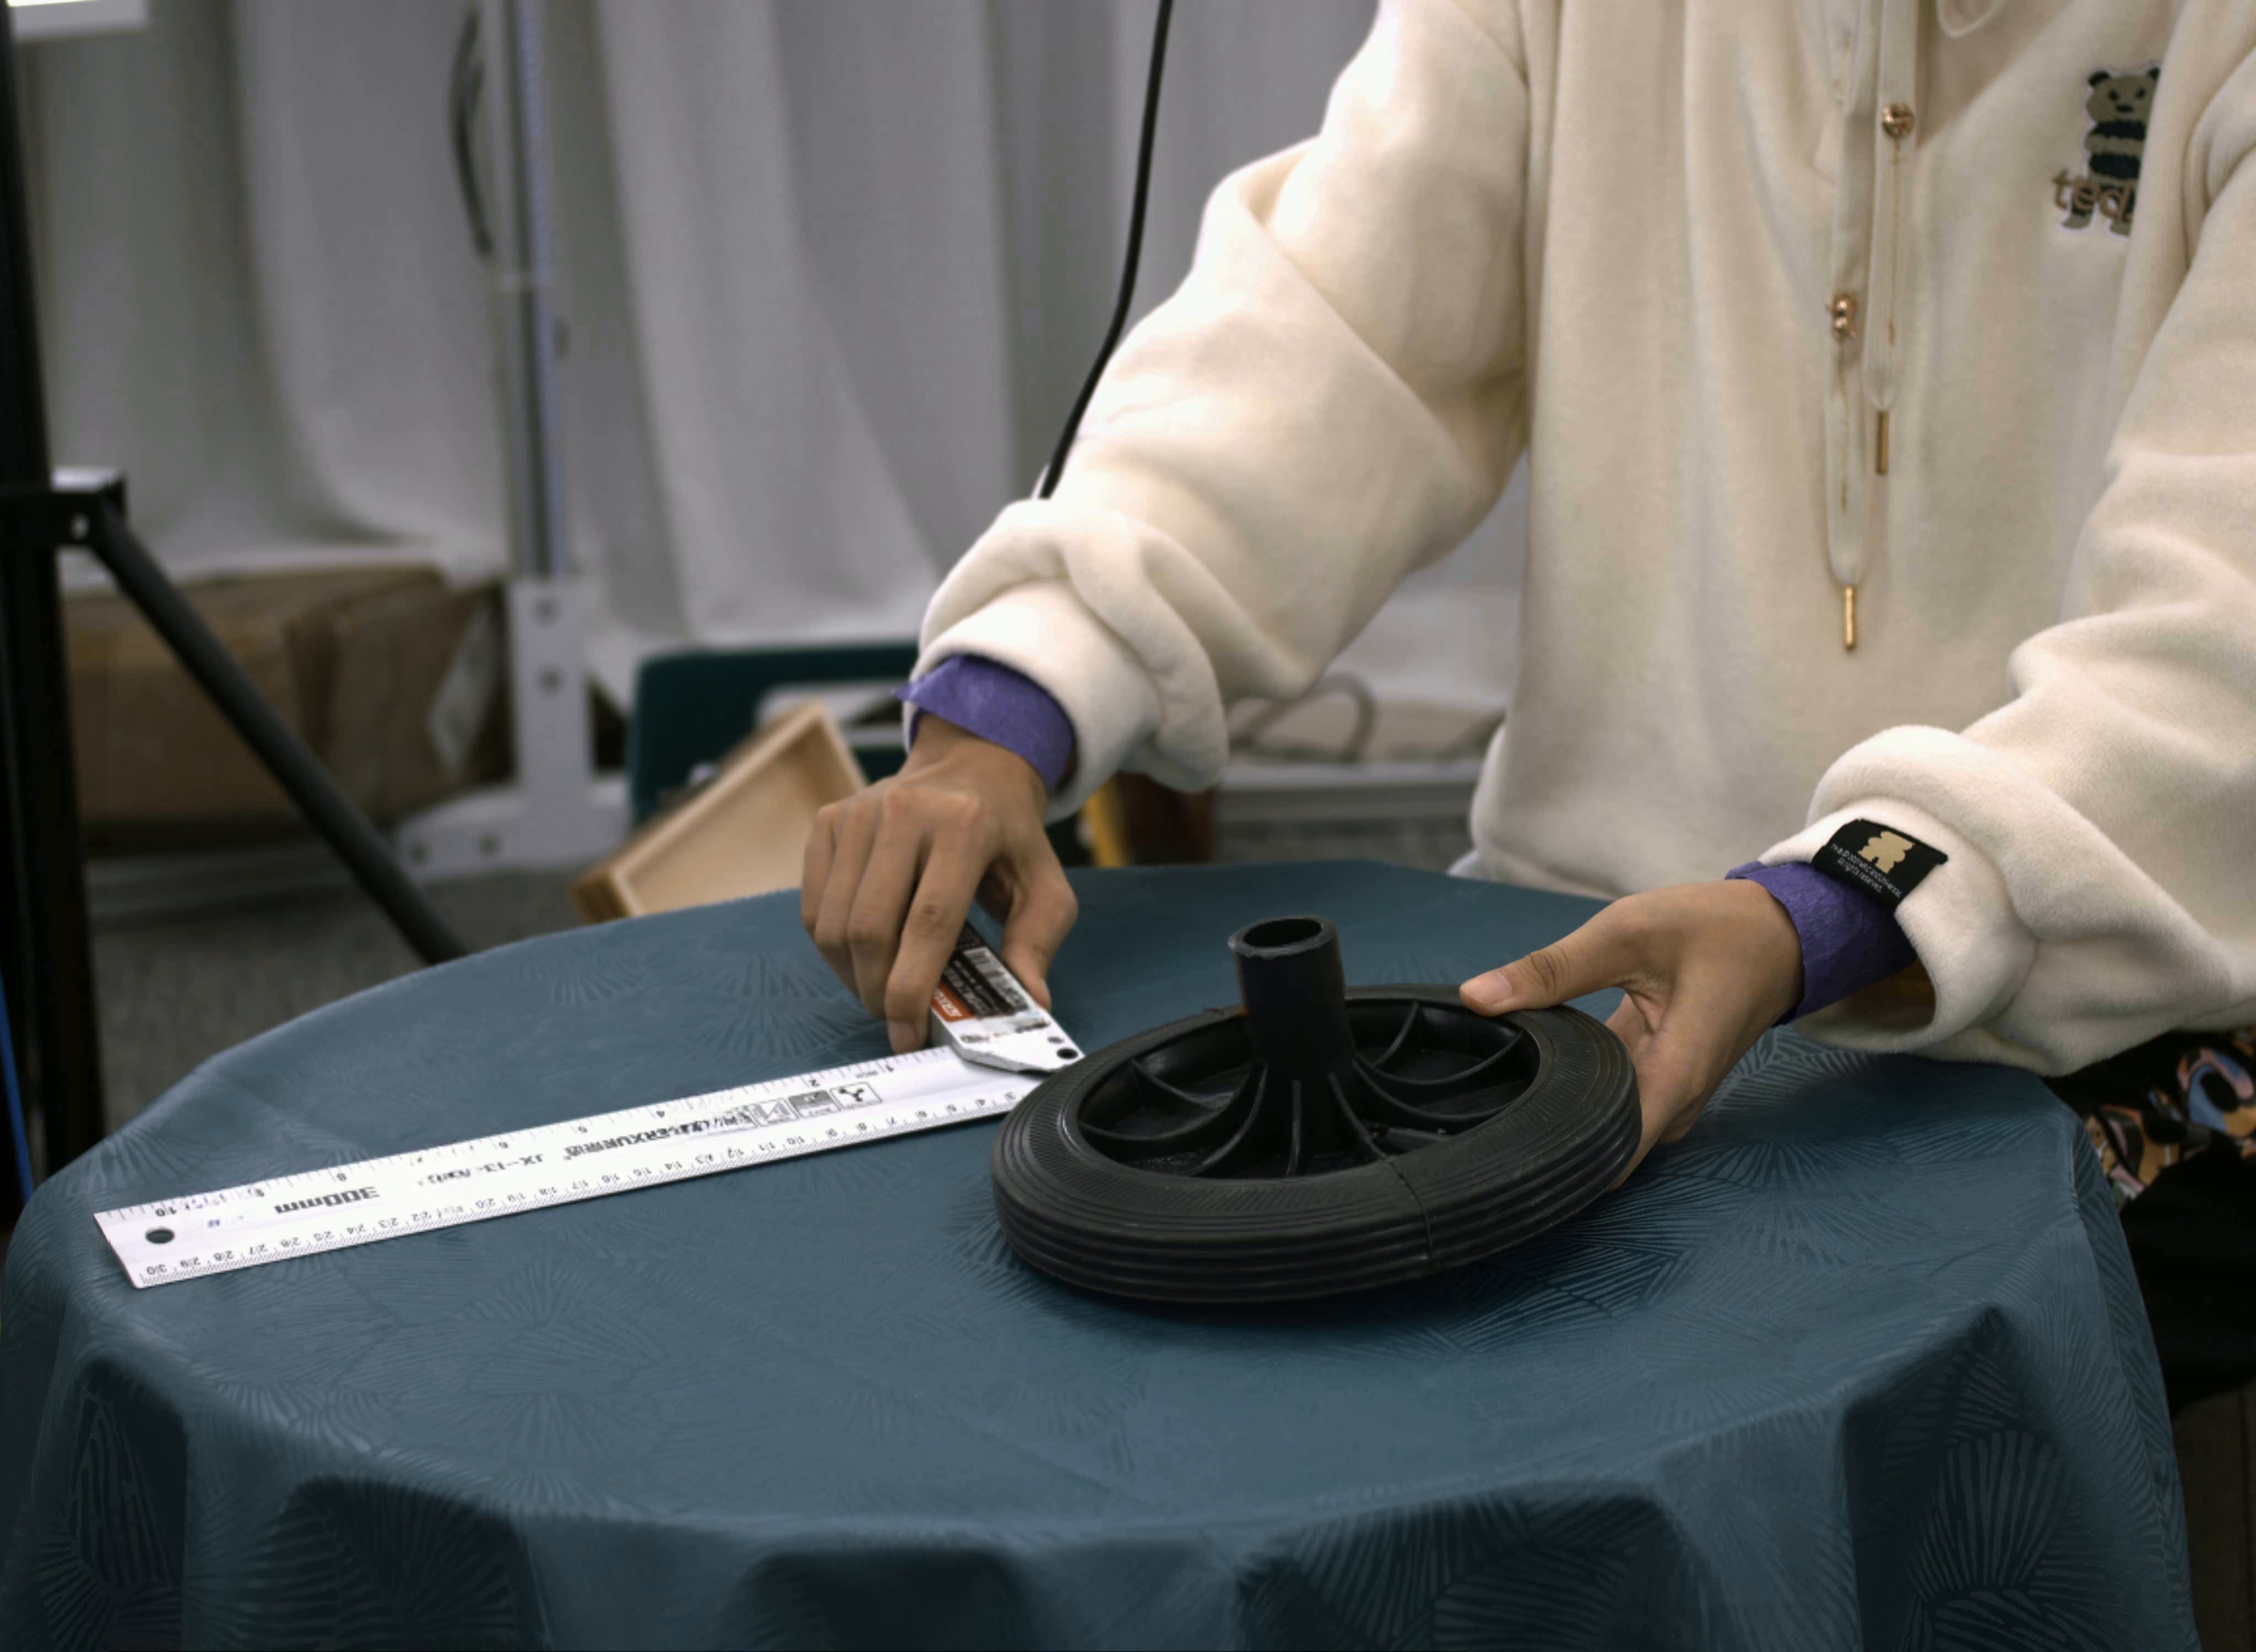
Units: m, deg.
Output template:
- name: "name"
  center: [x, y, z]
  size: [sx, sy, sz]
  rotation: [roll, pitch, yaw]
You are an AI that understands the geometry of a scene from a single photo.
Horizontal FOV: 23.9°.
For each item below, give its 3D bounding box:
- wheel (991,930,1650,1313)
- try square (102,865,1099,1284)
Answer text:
- name: "wheel"
  center: [0.052, 0.072, 1.516]
  size: [0.192, 0.079, 0.186]
  rotation: [-2, 20, 21]
- name: "try square"
  center: [-0.175, 0.074, 1.640]
  size: [0.307, 0.016, 0.155]
  rotation: [-10, 30, -23]
